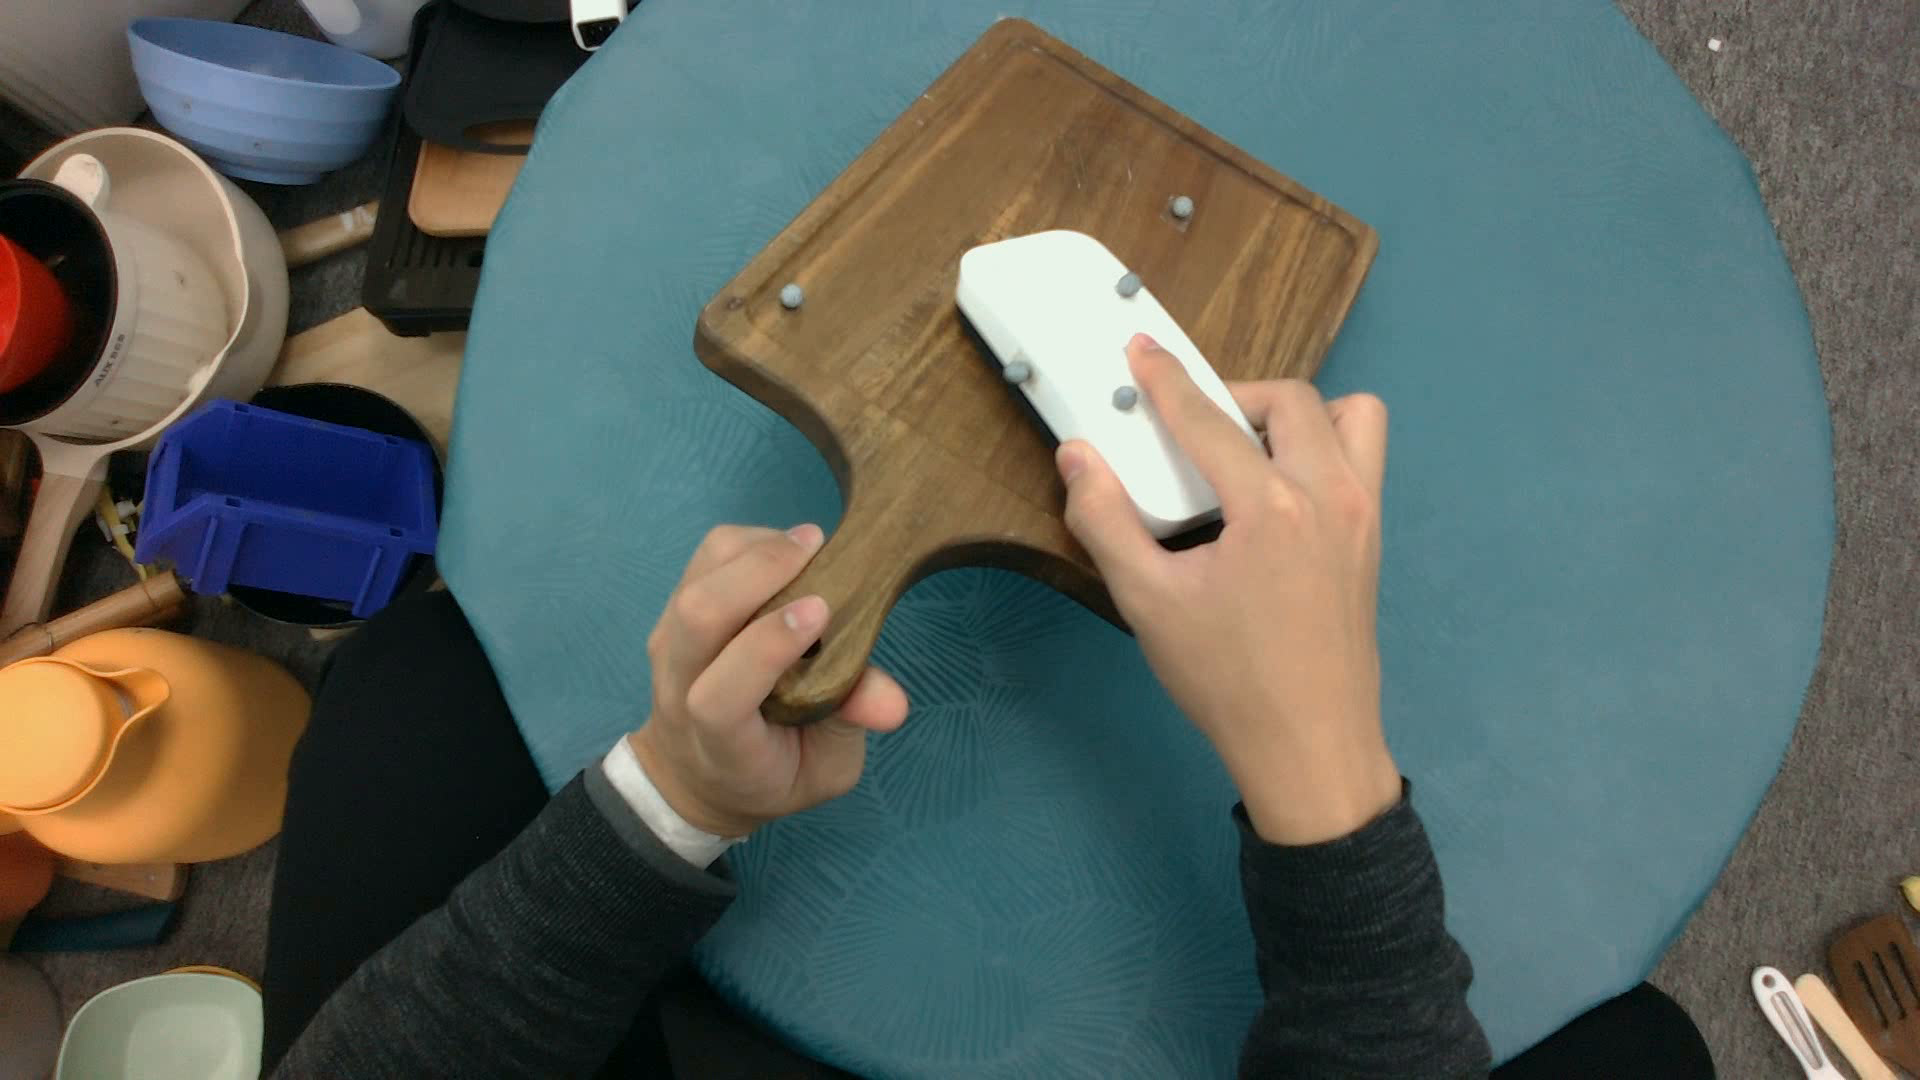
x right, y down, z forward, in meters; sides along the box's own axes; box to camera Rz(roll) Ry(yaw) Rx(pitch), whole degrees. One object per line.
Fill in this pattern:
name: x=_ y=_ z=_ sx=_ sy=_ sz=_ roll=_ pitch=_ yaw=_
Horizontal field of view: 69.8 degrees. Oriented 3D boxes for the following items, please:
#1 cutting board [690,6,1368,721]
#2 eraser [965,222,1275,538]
cutting board: x=0.021 y=-0.071 z=0.511 sx=0.201 sy=0.023 sz=0.354 roll=32 pitch=52 yaw=3
eraser: x=0.053 y=-0.061 z=0.488 sx=0.063 sy=0.034 sz=0.131 roll=-17 pitch=61 yaw=-30
